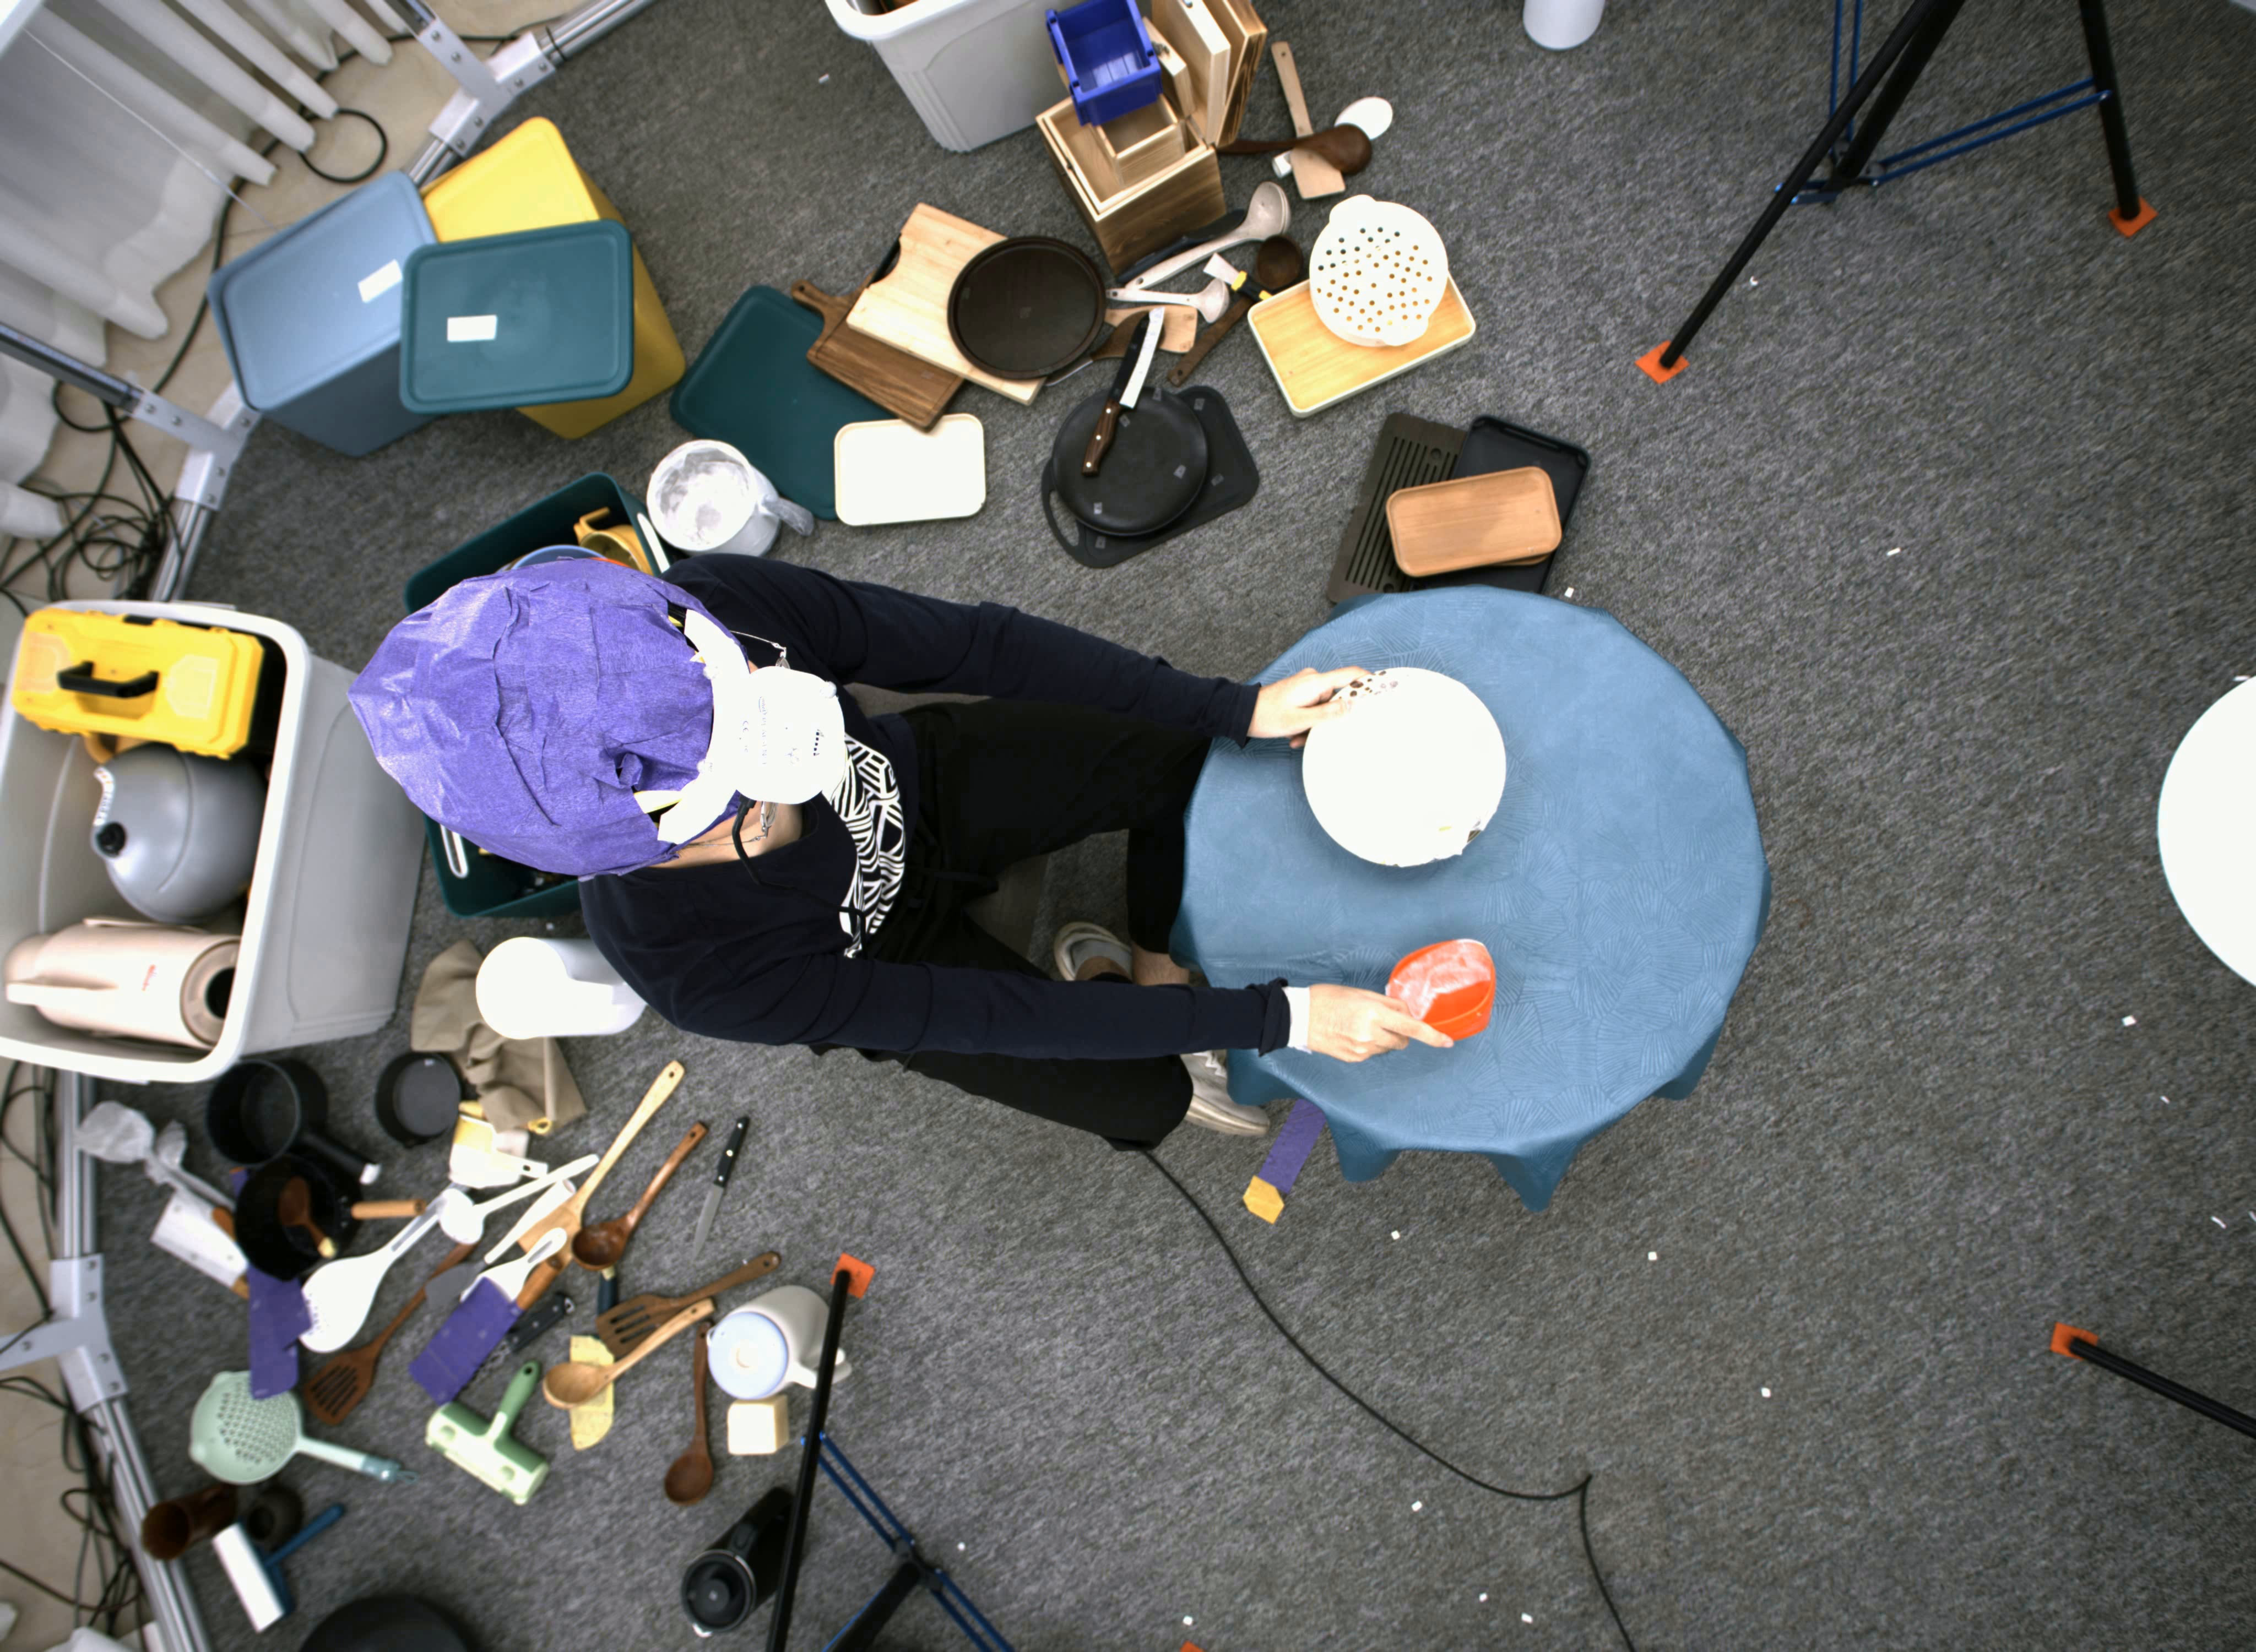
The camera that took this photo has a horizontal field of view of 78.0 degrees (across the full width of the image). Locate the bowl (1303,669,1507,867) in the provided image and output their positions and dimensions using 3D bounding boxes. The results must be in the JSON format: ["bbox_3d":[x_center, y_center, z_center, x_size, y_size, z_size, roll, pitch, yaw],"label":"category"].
[{"bbox_3d":[0.285,-0.057,1.426,0.205,0.078,0.203,-1,86,11],"label":"bowl"}]

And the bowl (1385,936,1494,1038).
[{"bbox_3d":[0.316,0.167,1.375,0.120,0.052,0.116,-21,39,18],"label":"bowl"}]
